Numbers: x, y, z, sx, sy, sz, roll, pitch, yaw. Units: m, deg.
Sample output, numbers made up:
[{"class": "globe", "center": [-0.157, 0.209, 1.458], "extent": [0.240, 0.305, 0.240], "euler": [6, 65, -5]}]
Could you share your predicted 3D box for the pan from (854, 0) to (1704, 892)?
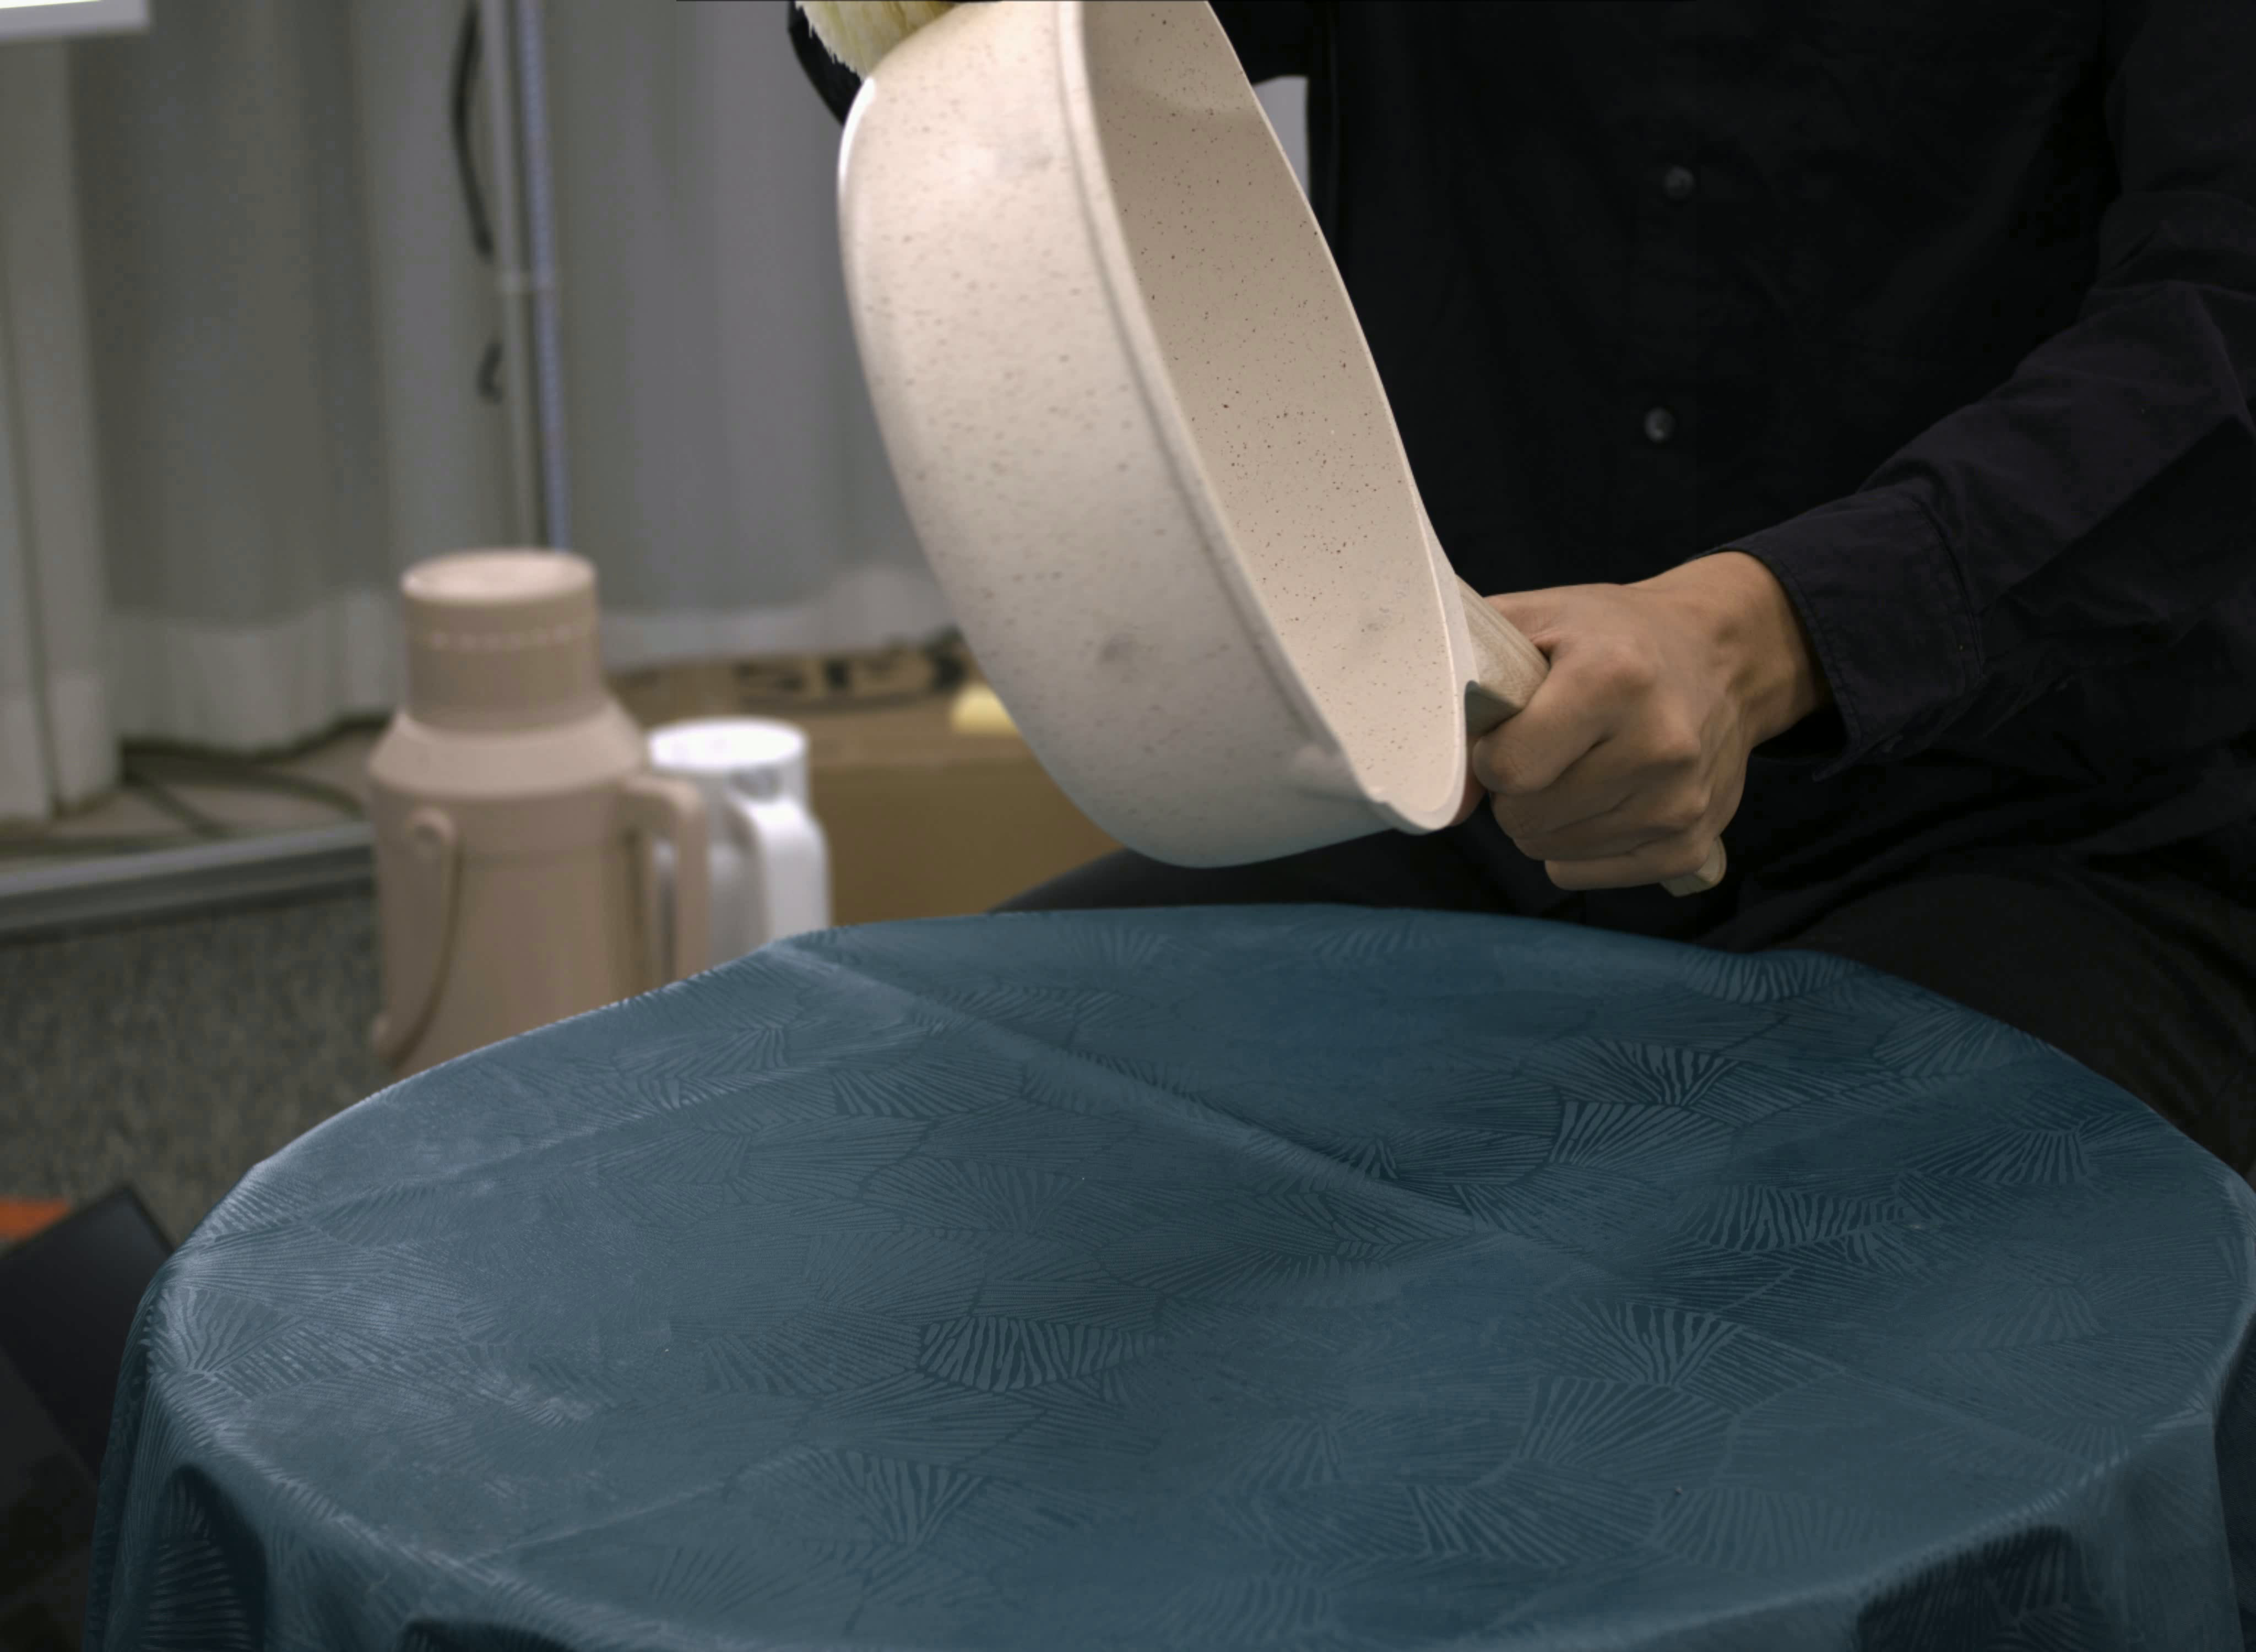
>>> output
[{"class": "pan", "center": [0.048, -0.064, 1.455], "extent": [0.102, 0.267, 0.426], "euler": [-22, -33, 14]}]

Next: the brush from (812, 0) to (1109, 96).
[{"class": "brush", "center": [-0.032, -0.232, 1.495], "extent": [0.084, 0.085, 0.321], "euler": [12, -2, 13]}]
